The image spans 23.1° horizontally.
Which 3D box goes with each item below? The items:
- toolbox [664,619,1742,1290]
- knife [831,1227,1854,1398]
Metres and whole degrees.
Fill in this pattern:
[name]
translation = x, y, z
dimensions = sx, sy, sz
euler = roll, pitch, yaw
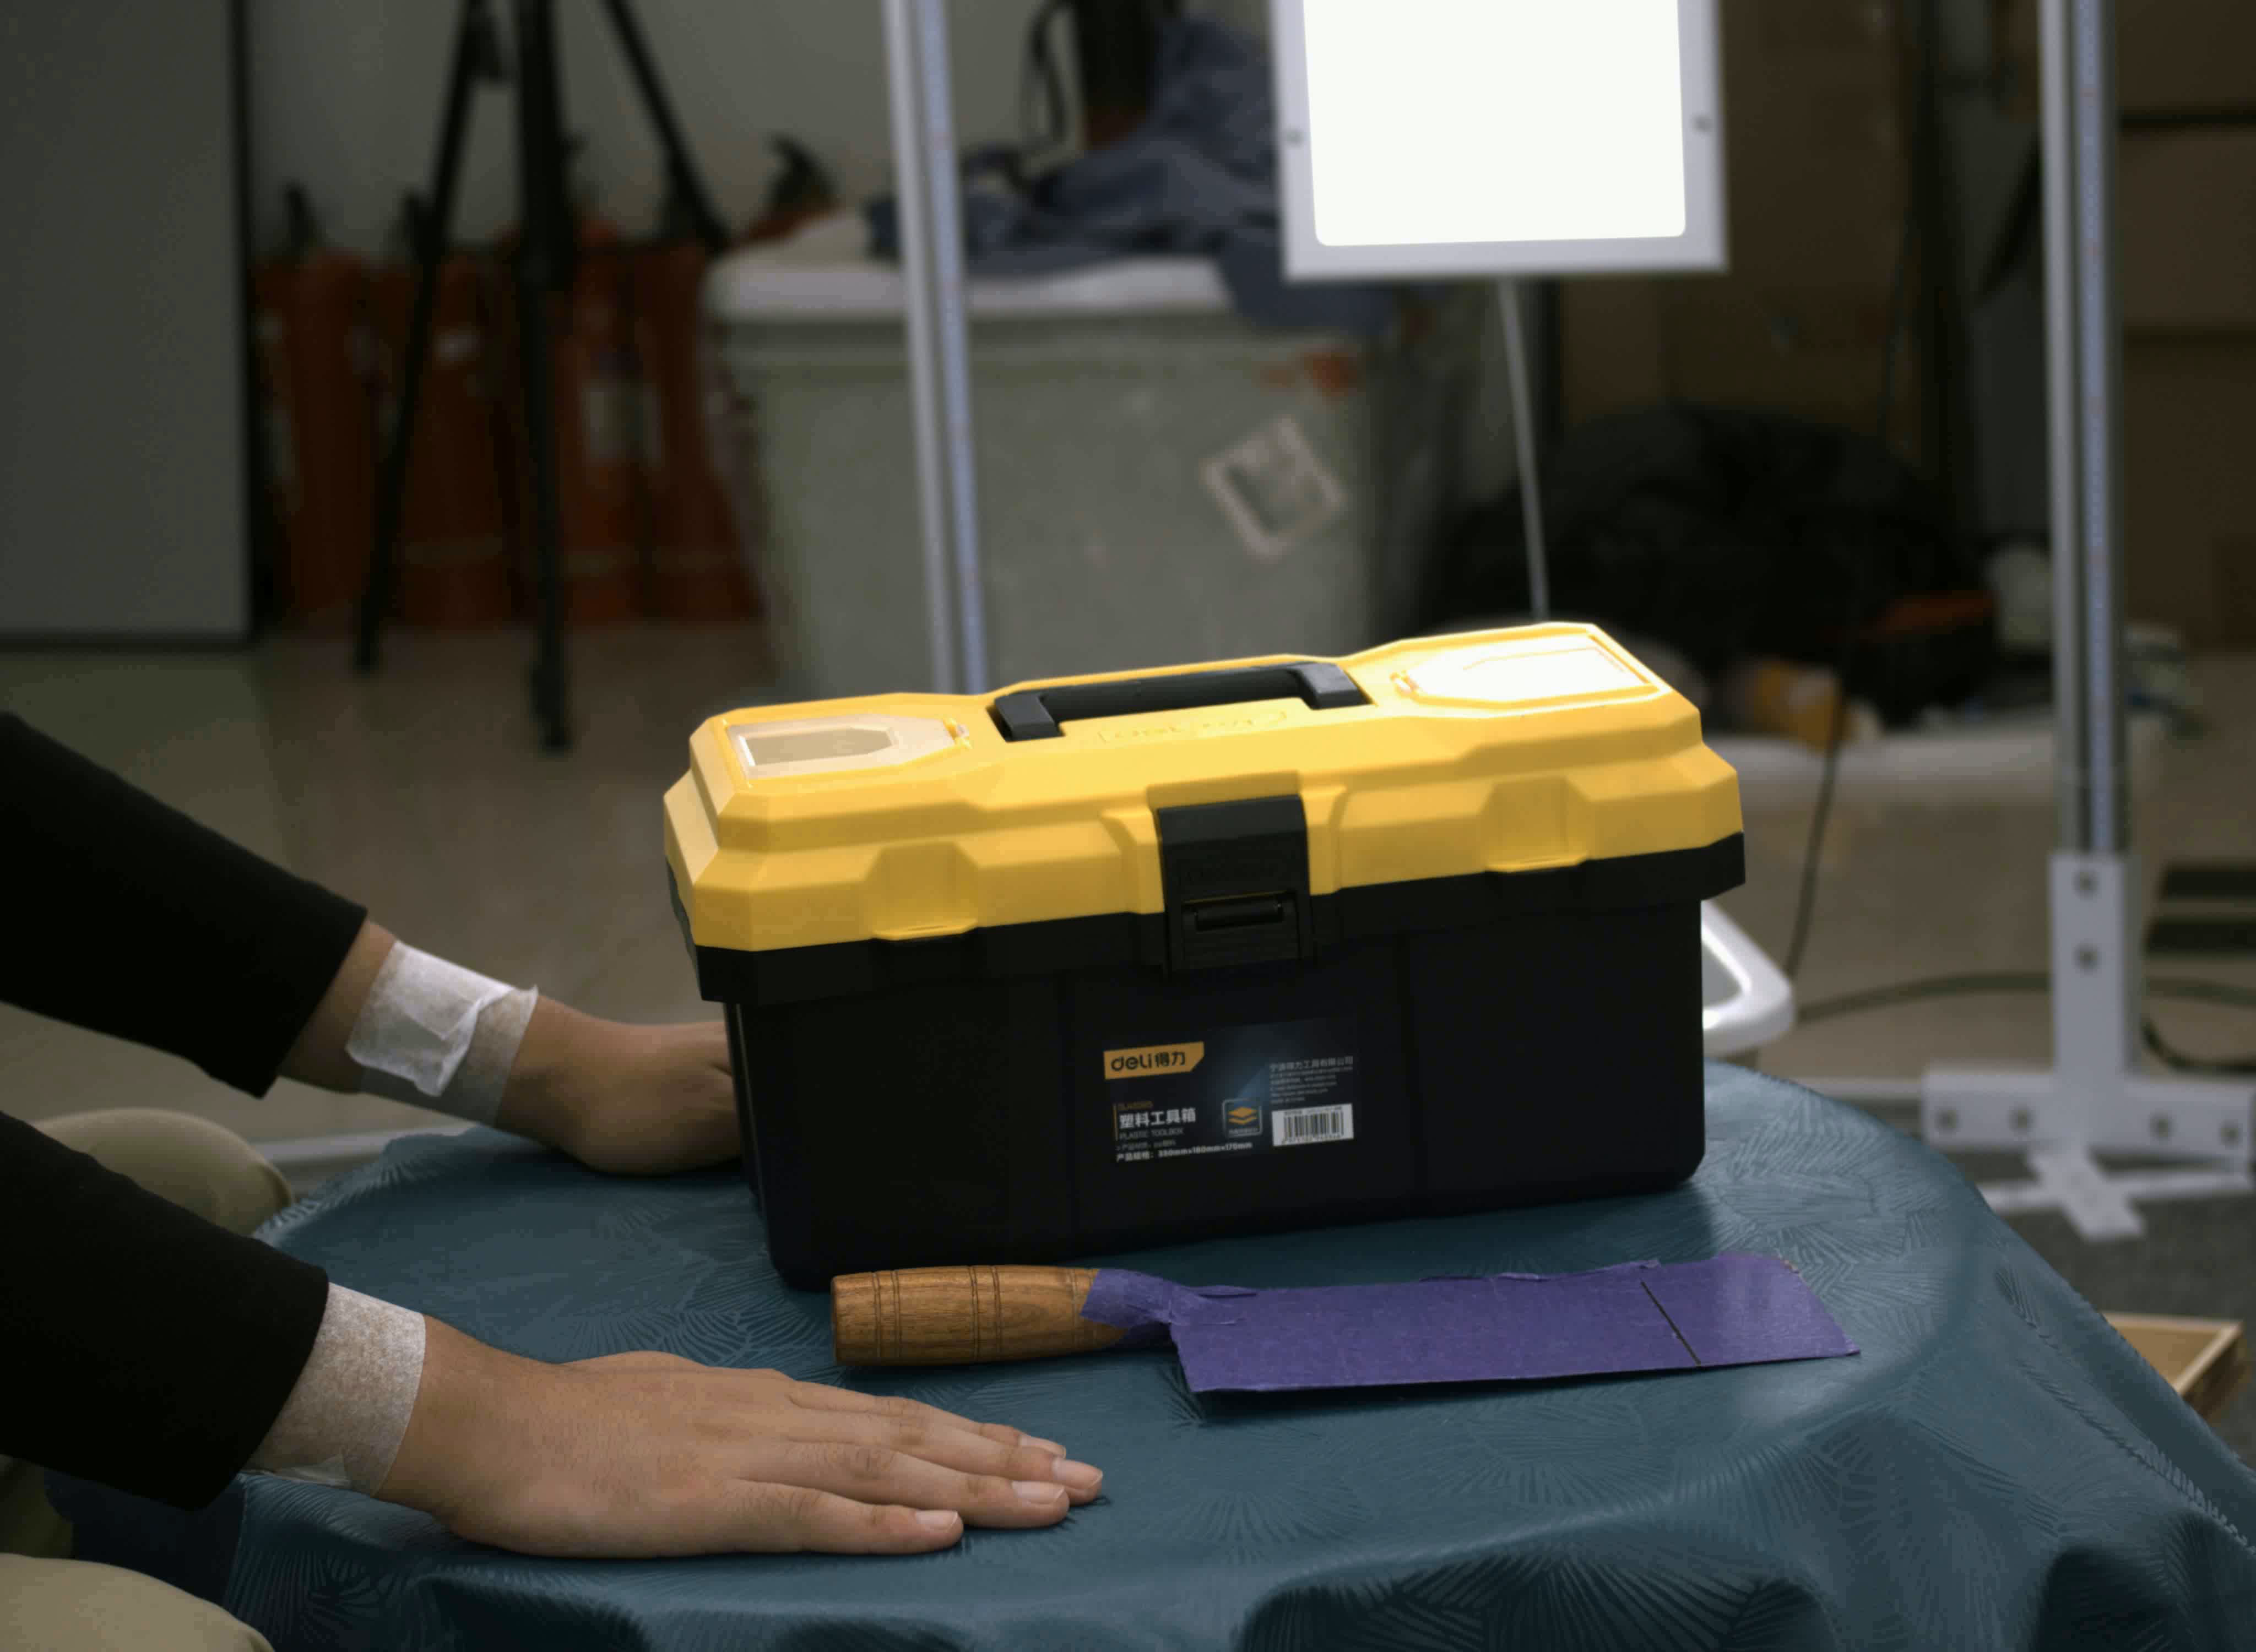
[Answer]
[toolbox]
translation = 0.025, 0.042, 1.871
dimensions = 0.349, 0.173, 0.182
euler = -7, 13, -5
[knife]
translation = 0.066, 0.153, 1.710
dimensions = 0.313, 0.032, 0.104
euler = -5, 14, -3
